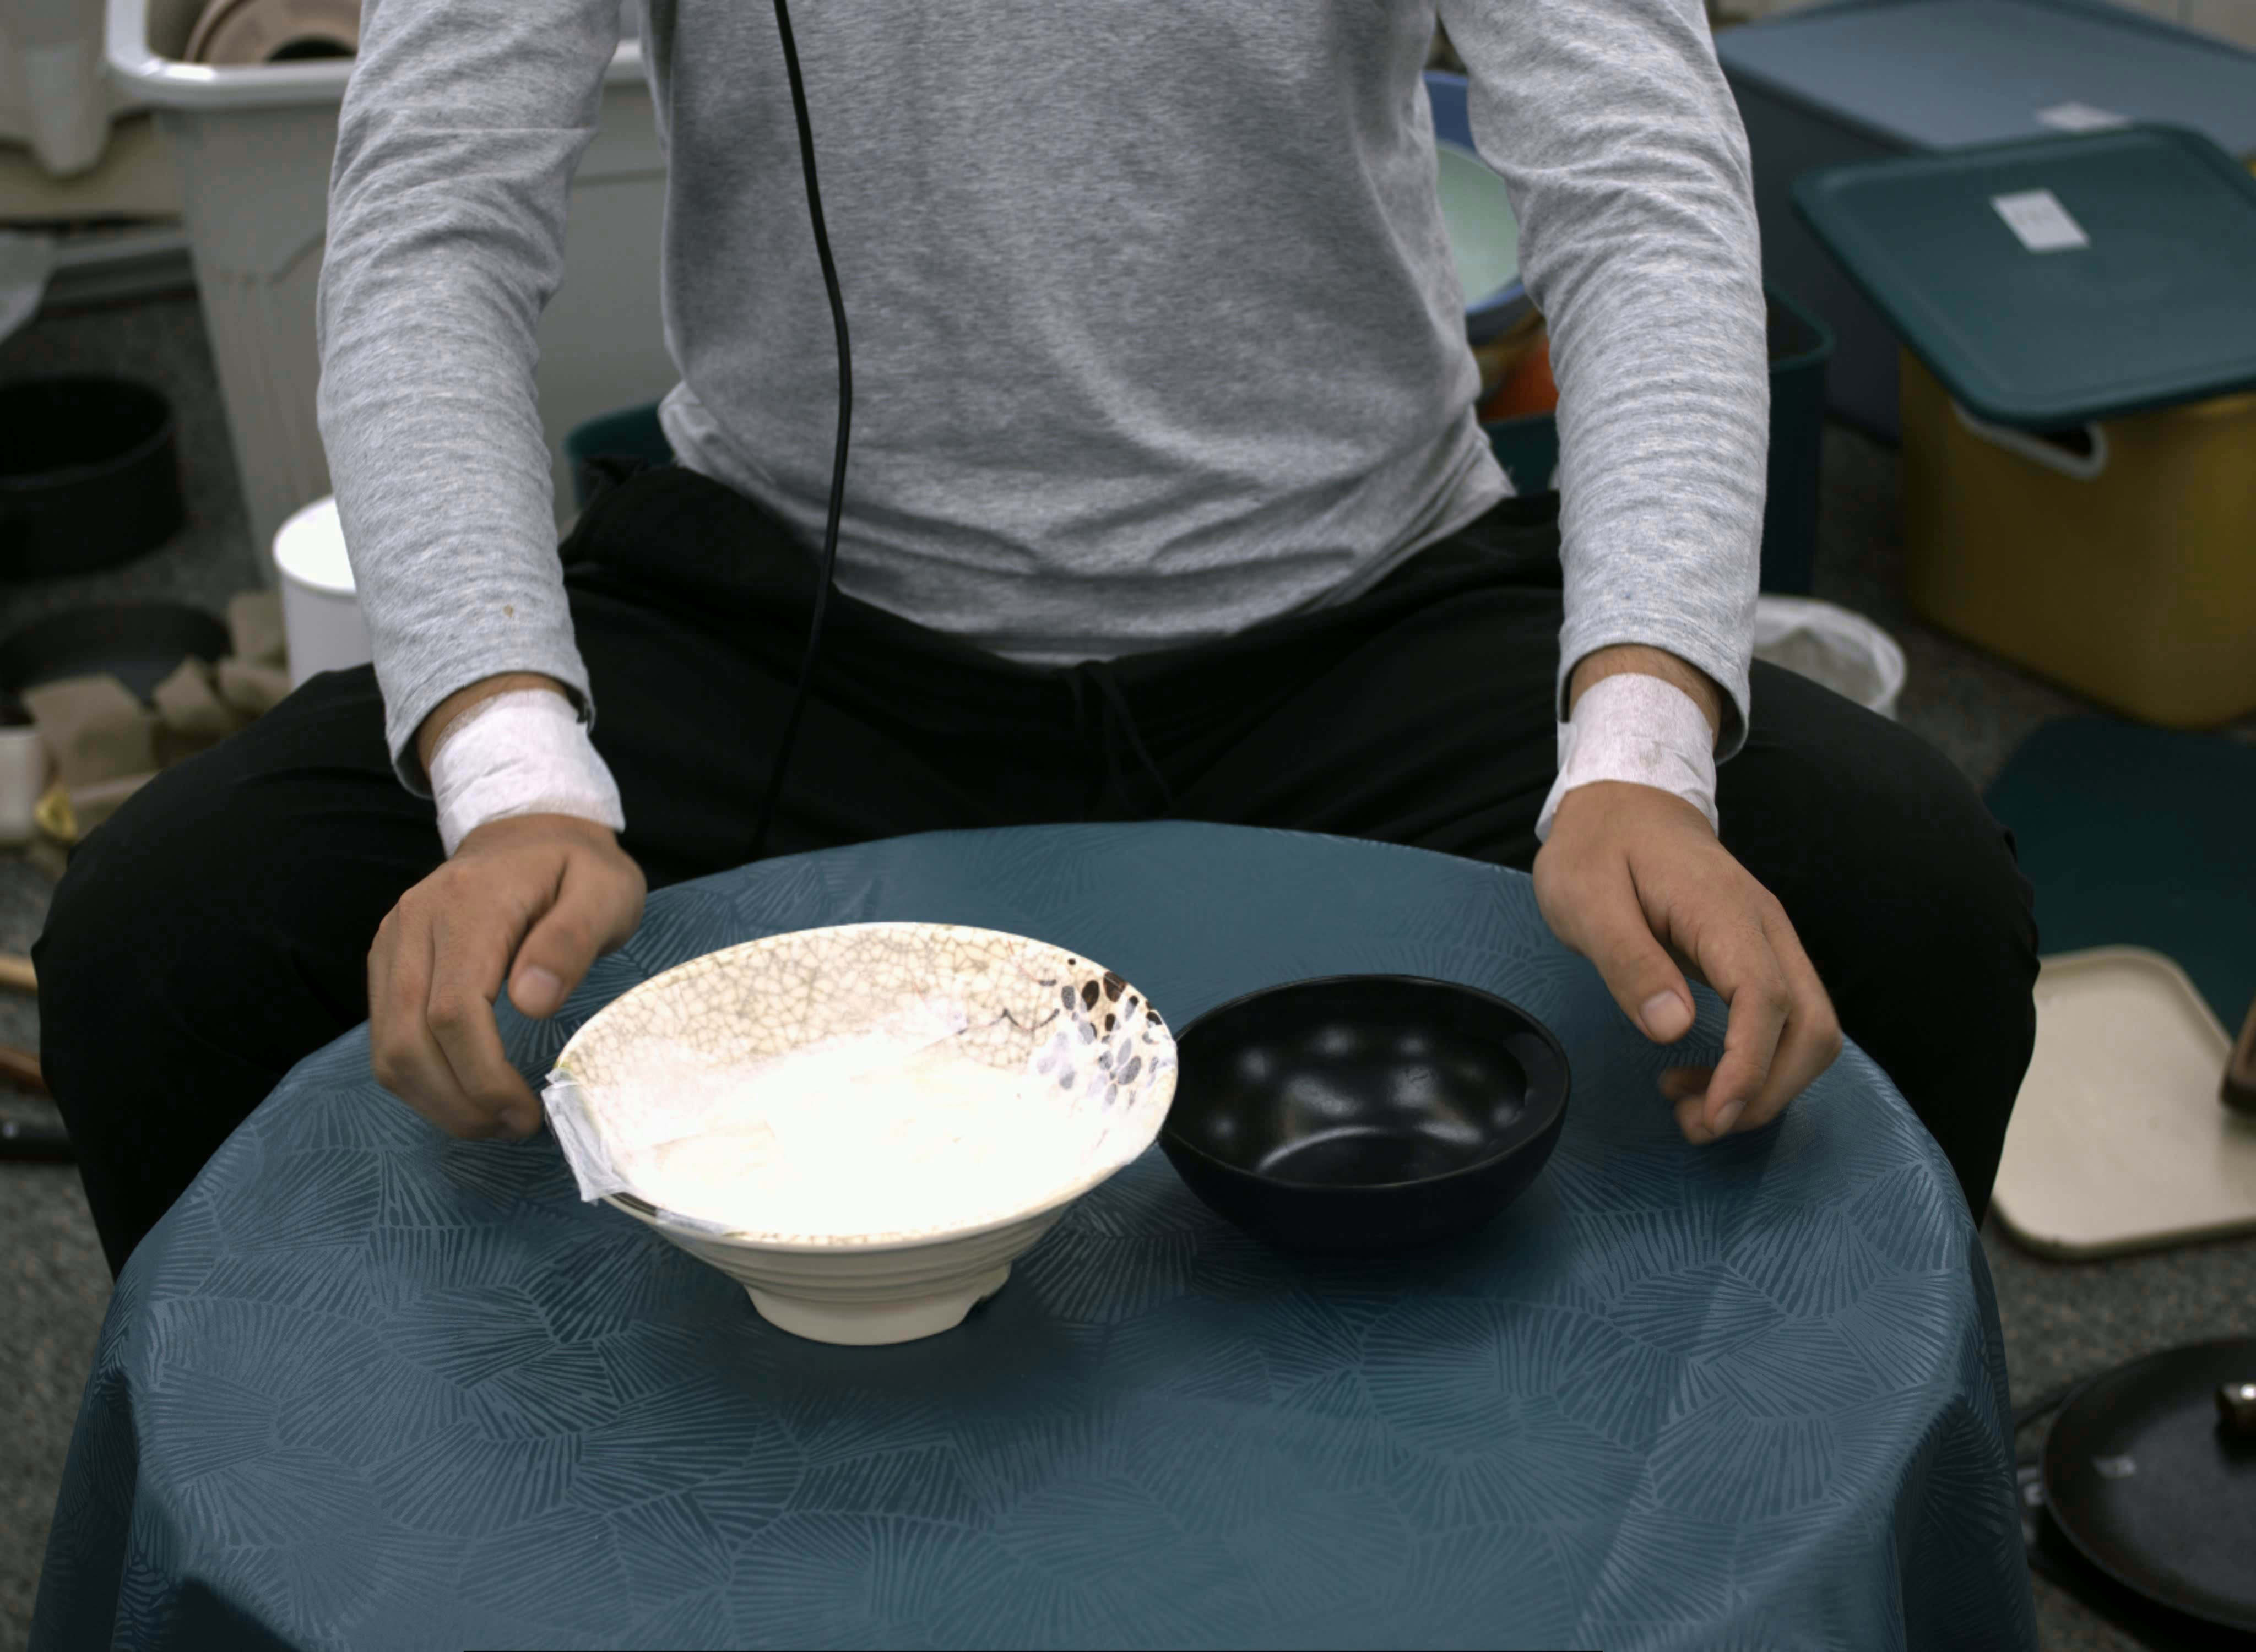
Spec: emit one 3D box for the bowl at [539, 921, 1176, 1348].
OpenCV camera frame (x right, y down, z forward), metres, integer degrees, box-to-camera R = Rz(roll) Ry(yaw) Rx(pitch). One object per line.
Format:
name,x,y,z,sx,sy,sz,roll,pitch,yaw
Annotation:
bowl,-0.085,0.112,1.804,0.203,0.077,0.207,-1,26,1

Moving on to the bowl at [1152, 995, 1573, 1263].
bowl,0.076,0.106,1.840,0.139,0.049,0.142,-1,22,1
